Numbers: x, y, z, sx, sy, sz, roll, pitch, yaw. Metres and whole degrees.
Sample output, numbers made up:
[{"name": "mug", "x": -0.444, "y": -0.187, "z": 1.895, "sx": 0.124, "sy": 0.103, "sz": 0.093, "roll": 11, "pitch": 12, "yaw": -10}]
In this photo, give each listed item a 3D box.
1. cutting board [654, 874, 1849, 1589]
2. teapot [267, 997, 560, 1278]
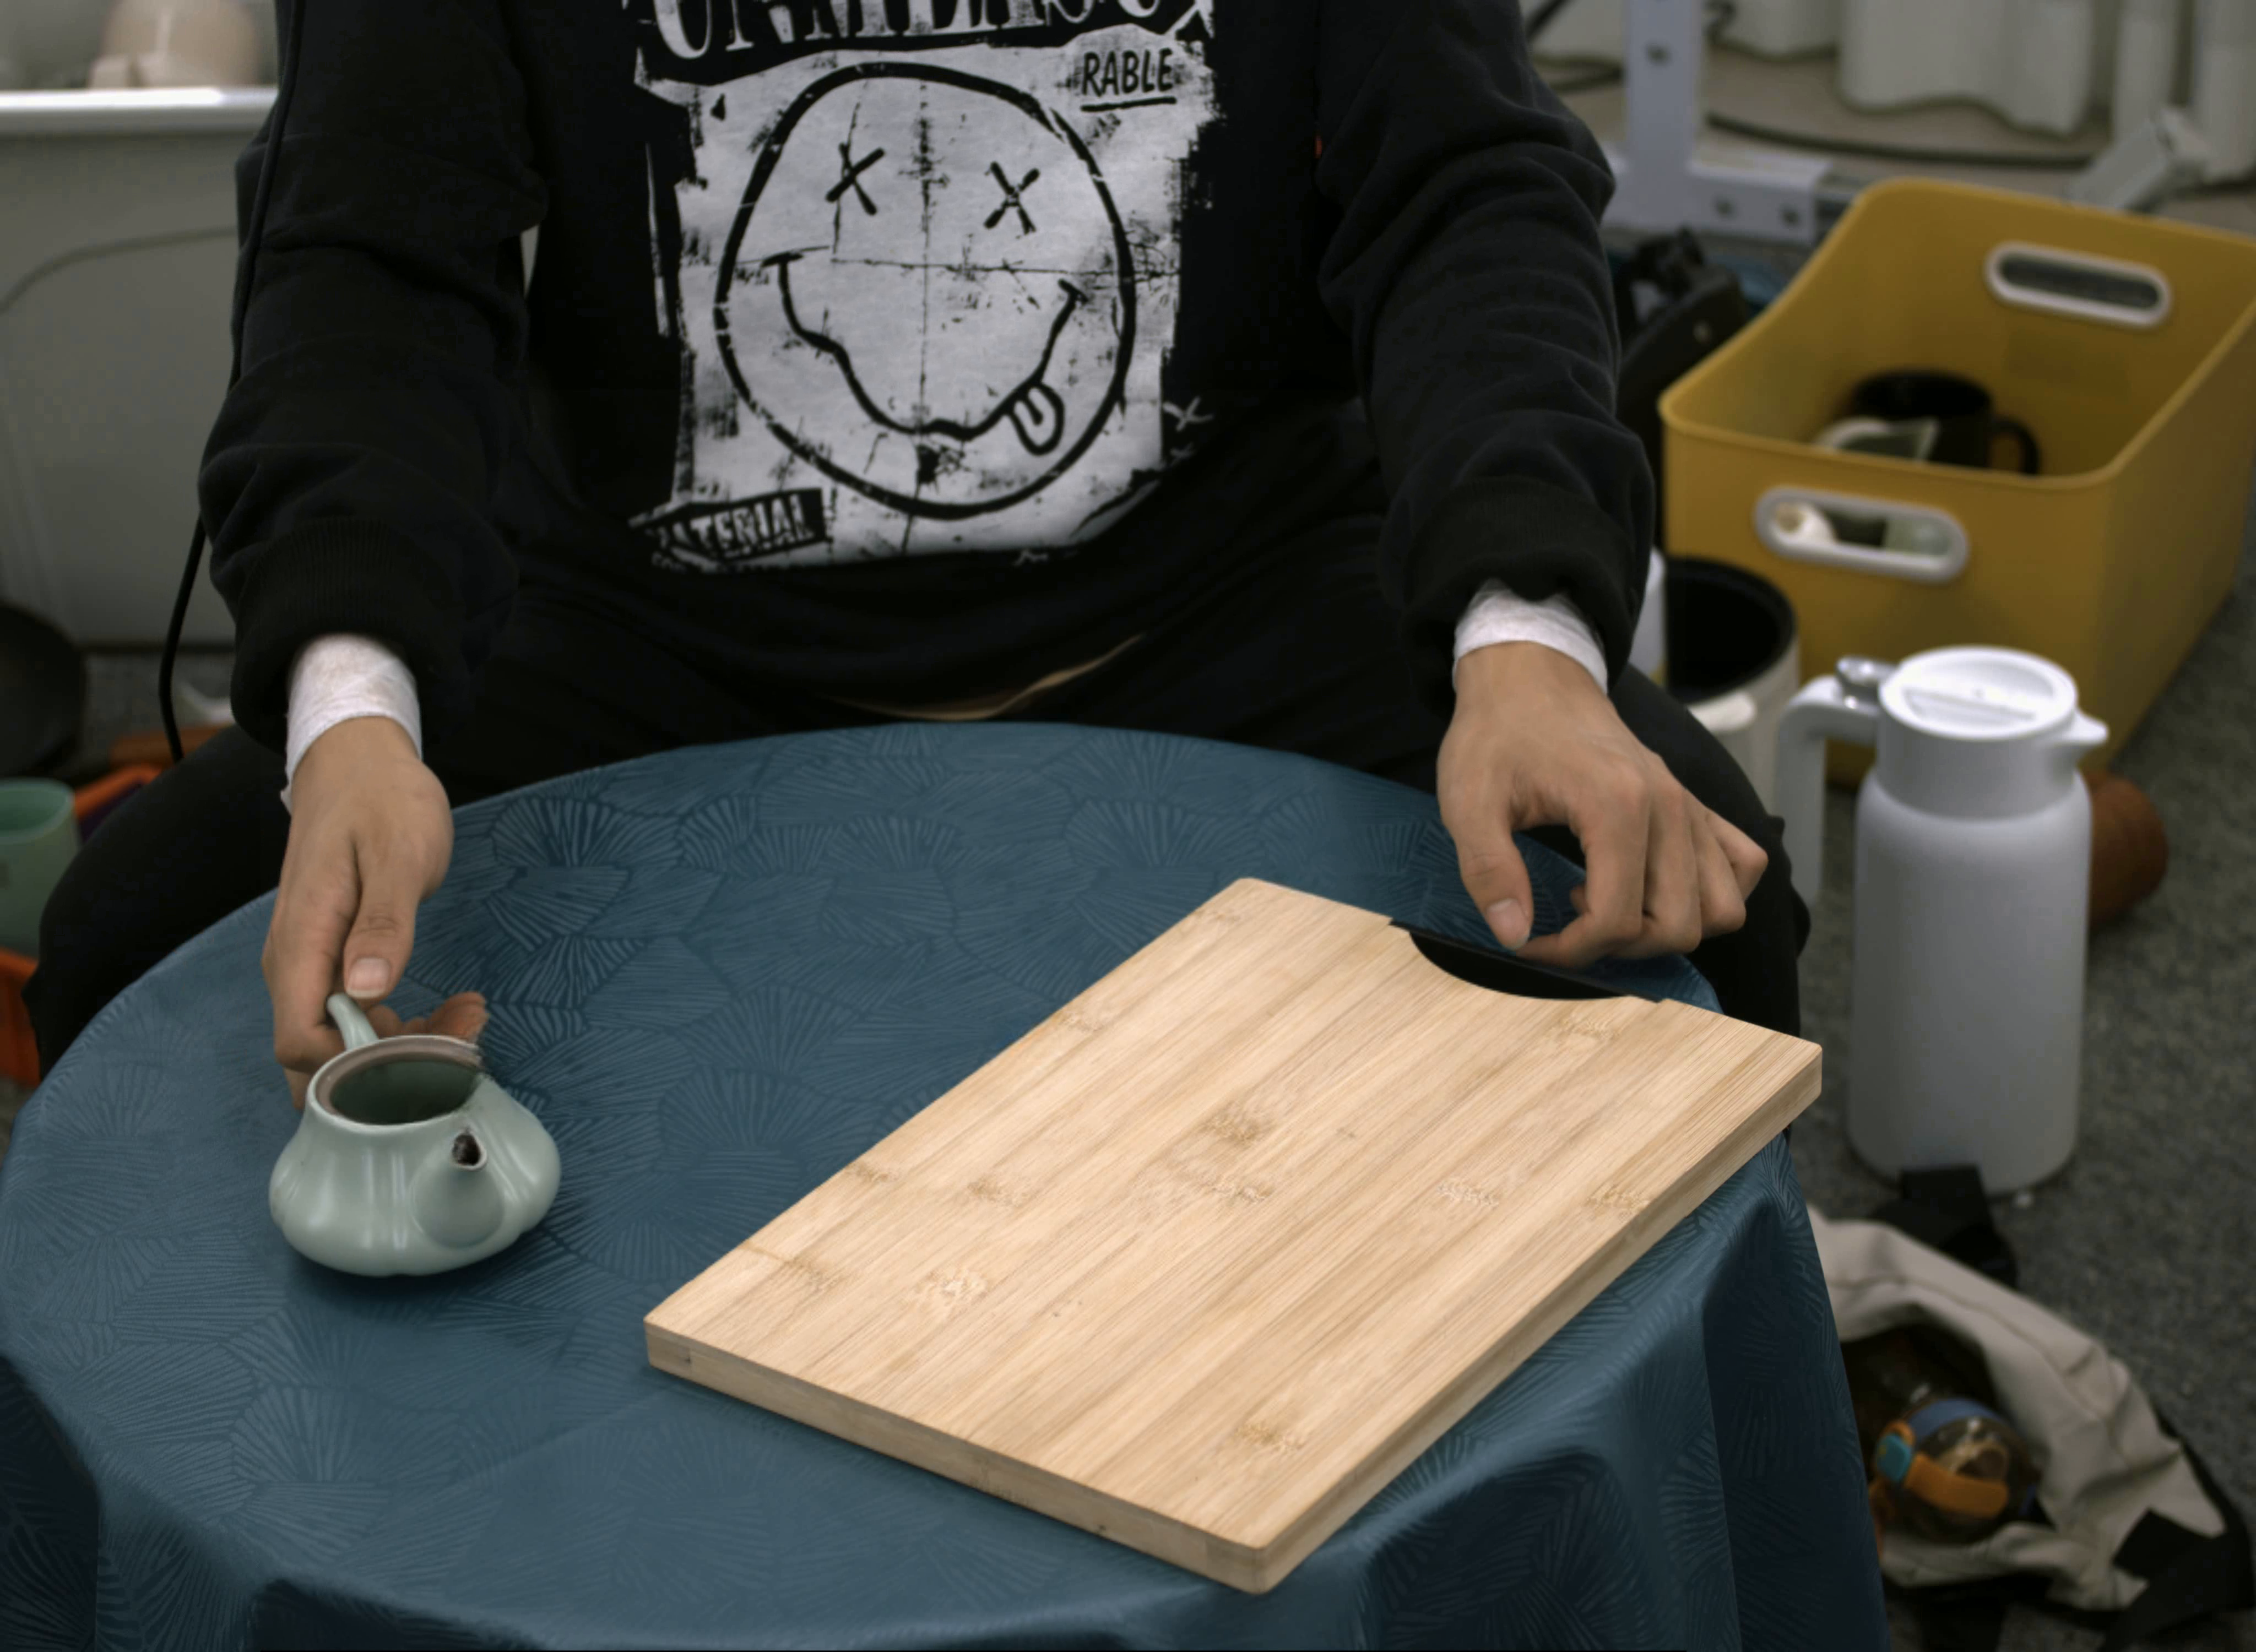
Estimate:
[{"name": "cutting board", "x": 0.044, "y": 0.121, "z": 1.837, "sx": 0.249, "sy": 0.023, "sz": 0.354, "roll": 15, "pitch": 32, "yaw": 31}, {"name": "teapot", "x": -0.239, "y": 0.105, "z": 1.849, "sx": 0.097, "sy": 0.061, "sz": 0.137, "roll": -18, "pitch": 31, "yaw": -25}]
